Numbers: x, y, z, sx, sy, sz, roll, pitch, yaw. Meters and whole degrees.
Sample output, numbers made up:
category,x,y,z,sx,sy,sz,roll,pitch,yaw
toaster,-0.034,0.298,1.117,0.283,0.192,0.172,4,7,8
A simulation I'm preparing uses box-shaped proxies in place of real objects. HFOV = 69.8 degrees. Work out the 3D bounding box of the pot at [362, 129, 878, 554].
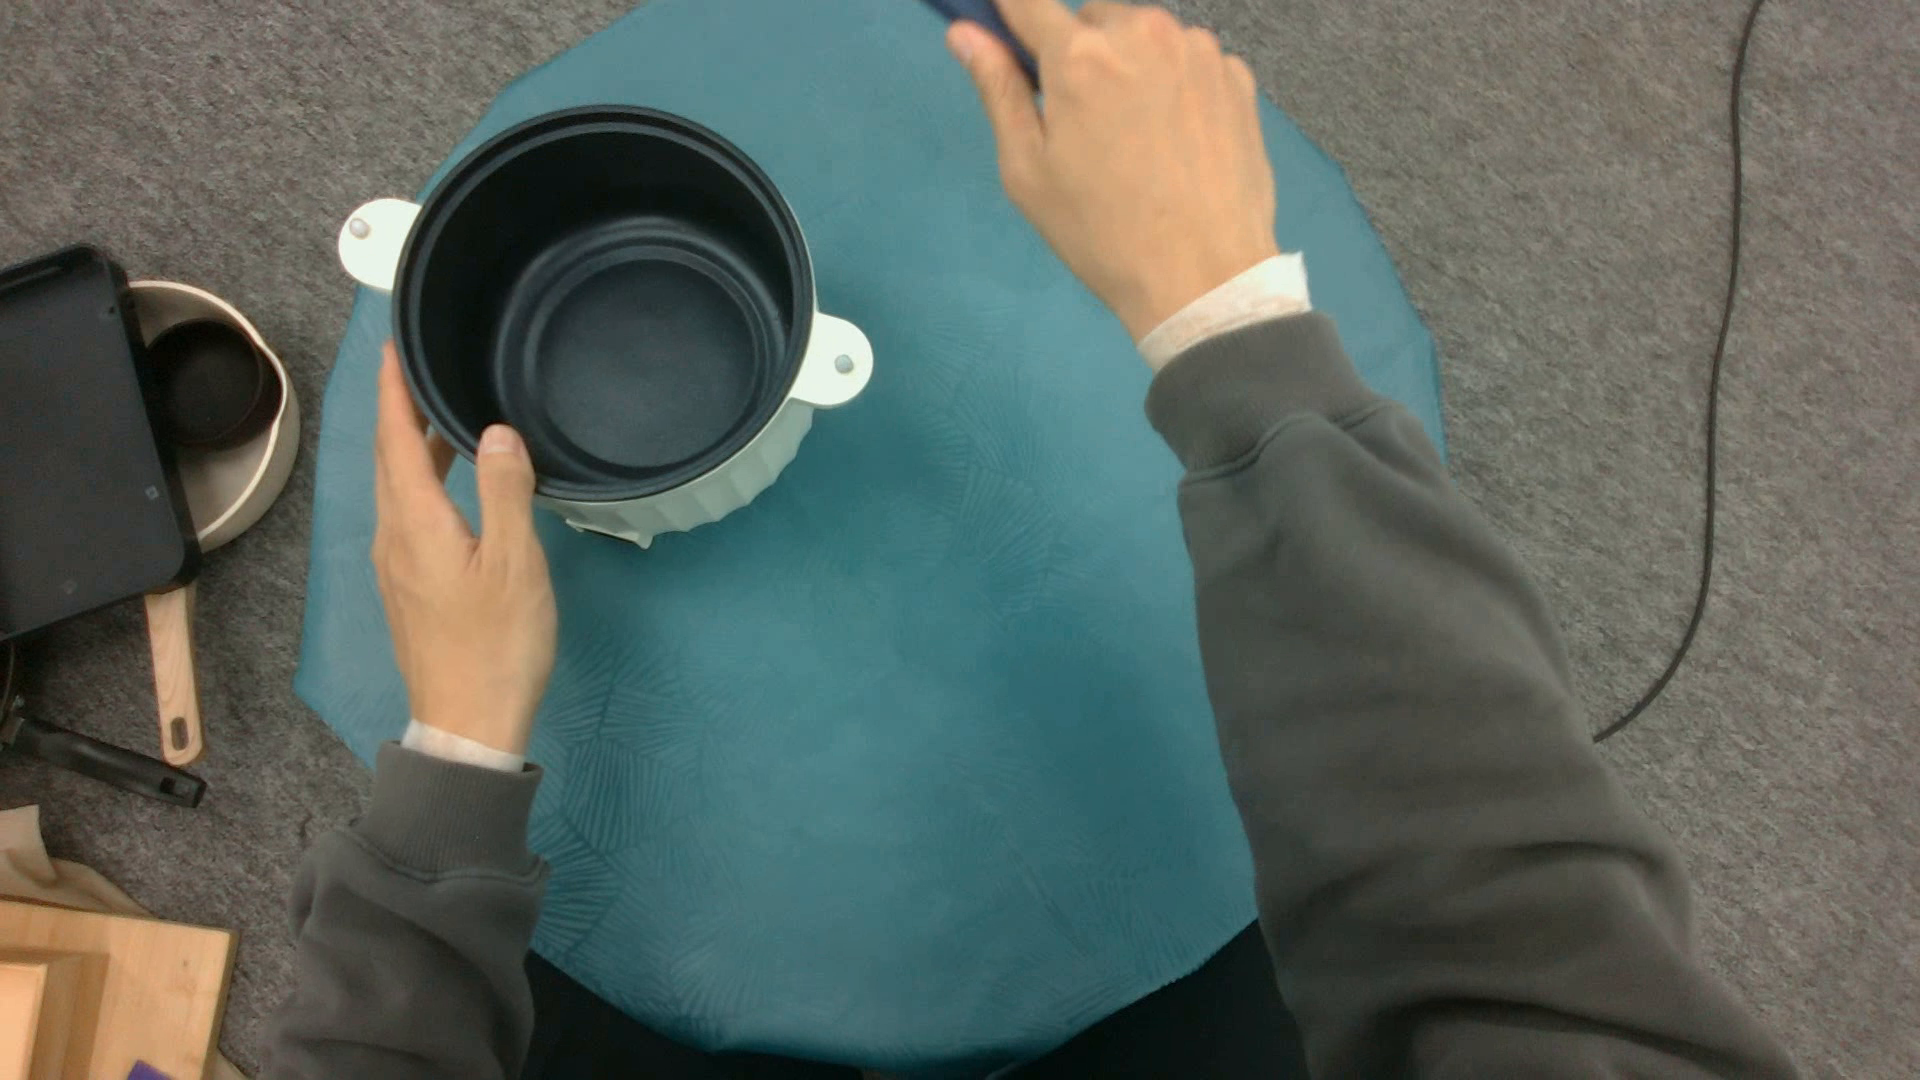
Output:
category,x,y,z,sx,sy,sz,roll,pitch,yaw
pot,-0.154,-0.095,0.684,0.240,0.142,0.191,14,83,1

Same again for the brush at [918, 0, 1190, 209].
category,x,y,z,sx,sy,sz,roll,pitch,yaw
brush,-0.017,-0.231,0.532,0.273,0.095,0.033,38,55,14
